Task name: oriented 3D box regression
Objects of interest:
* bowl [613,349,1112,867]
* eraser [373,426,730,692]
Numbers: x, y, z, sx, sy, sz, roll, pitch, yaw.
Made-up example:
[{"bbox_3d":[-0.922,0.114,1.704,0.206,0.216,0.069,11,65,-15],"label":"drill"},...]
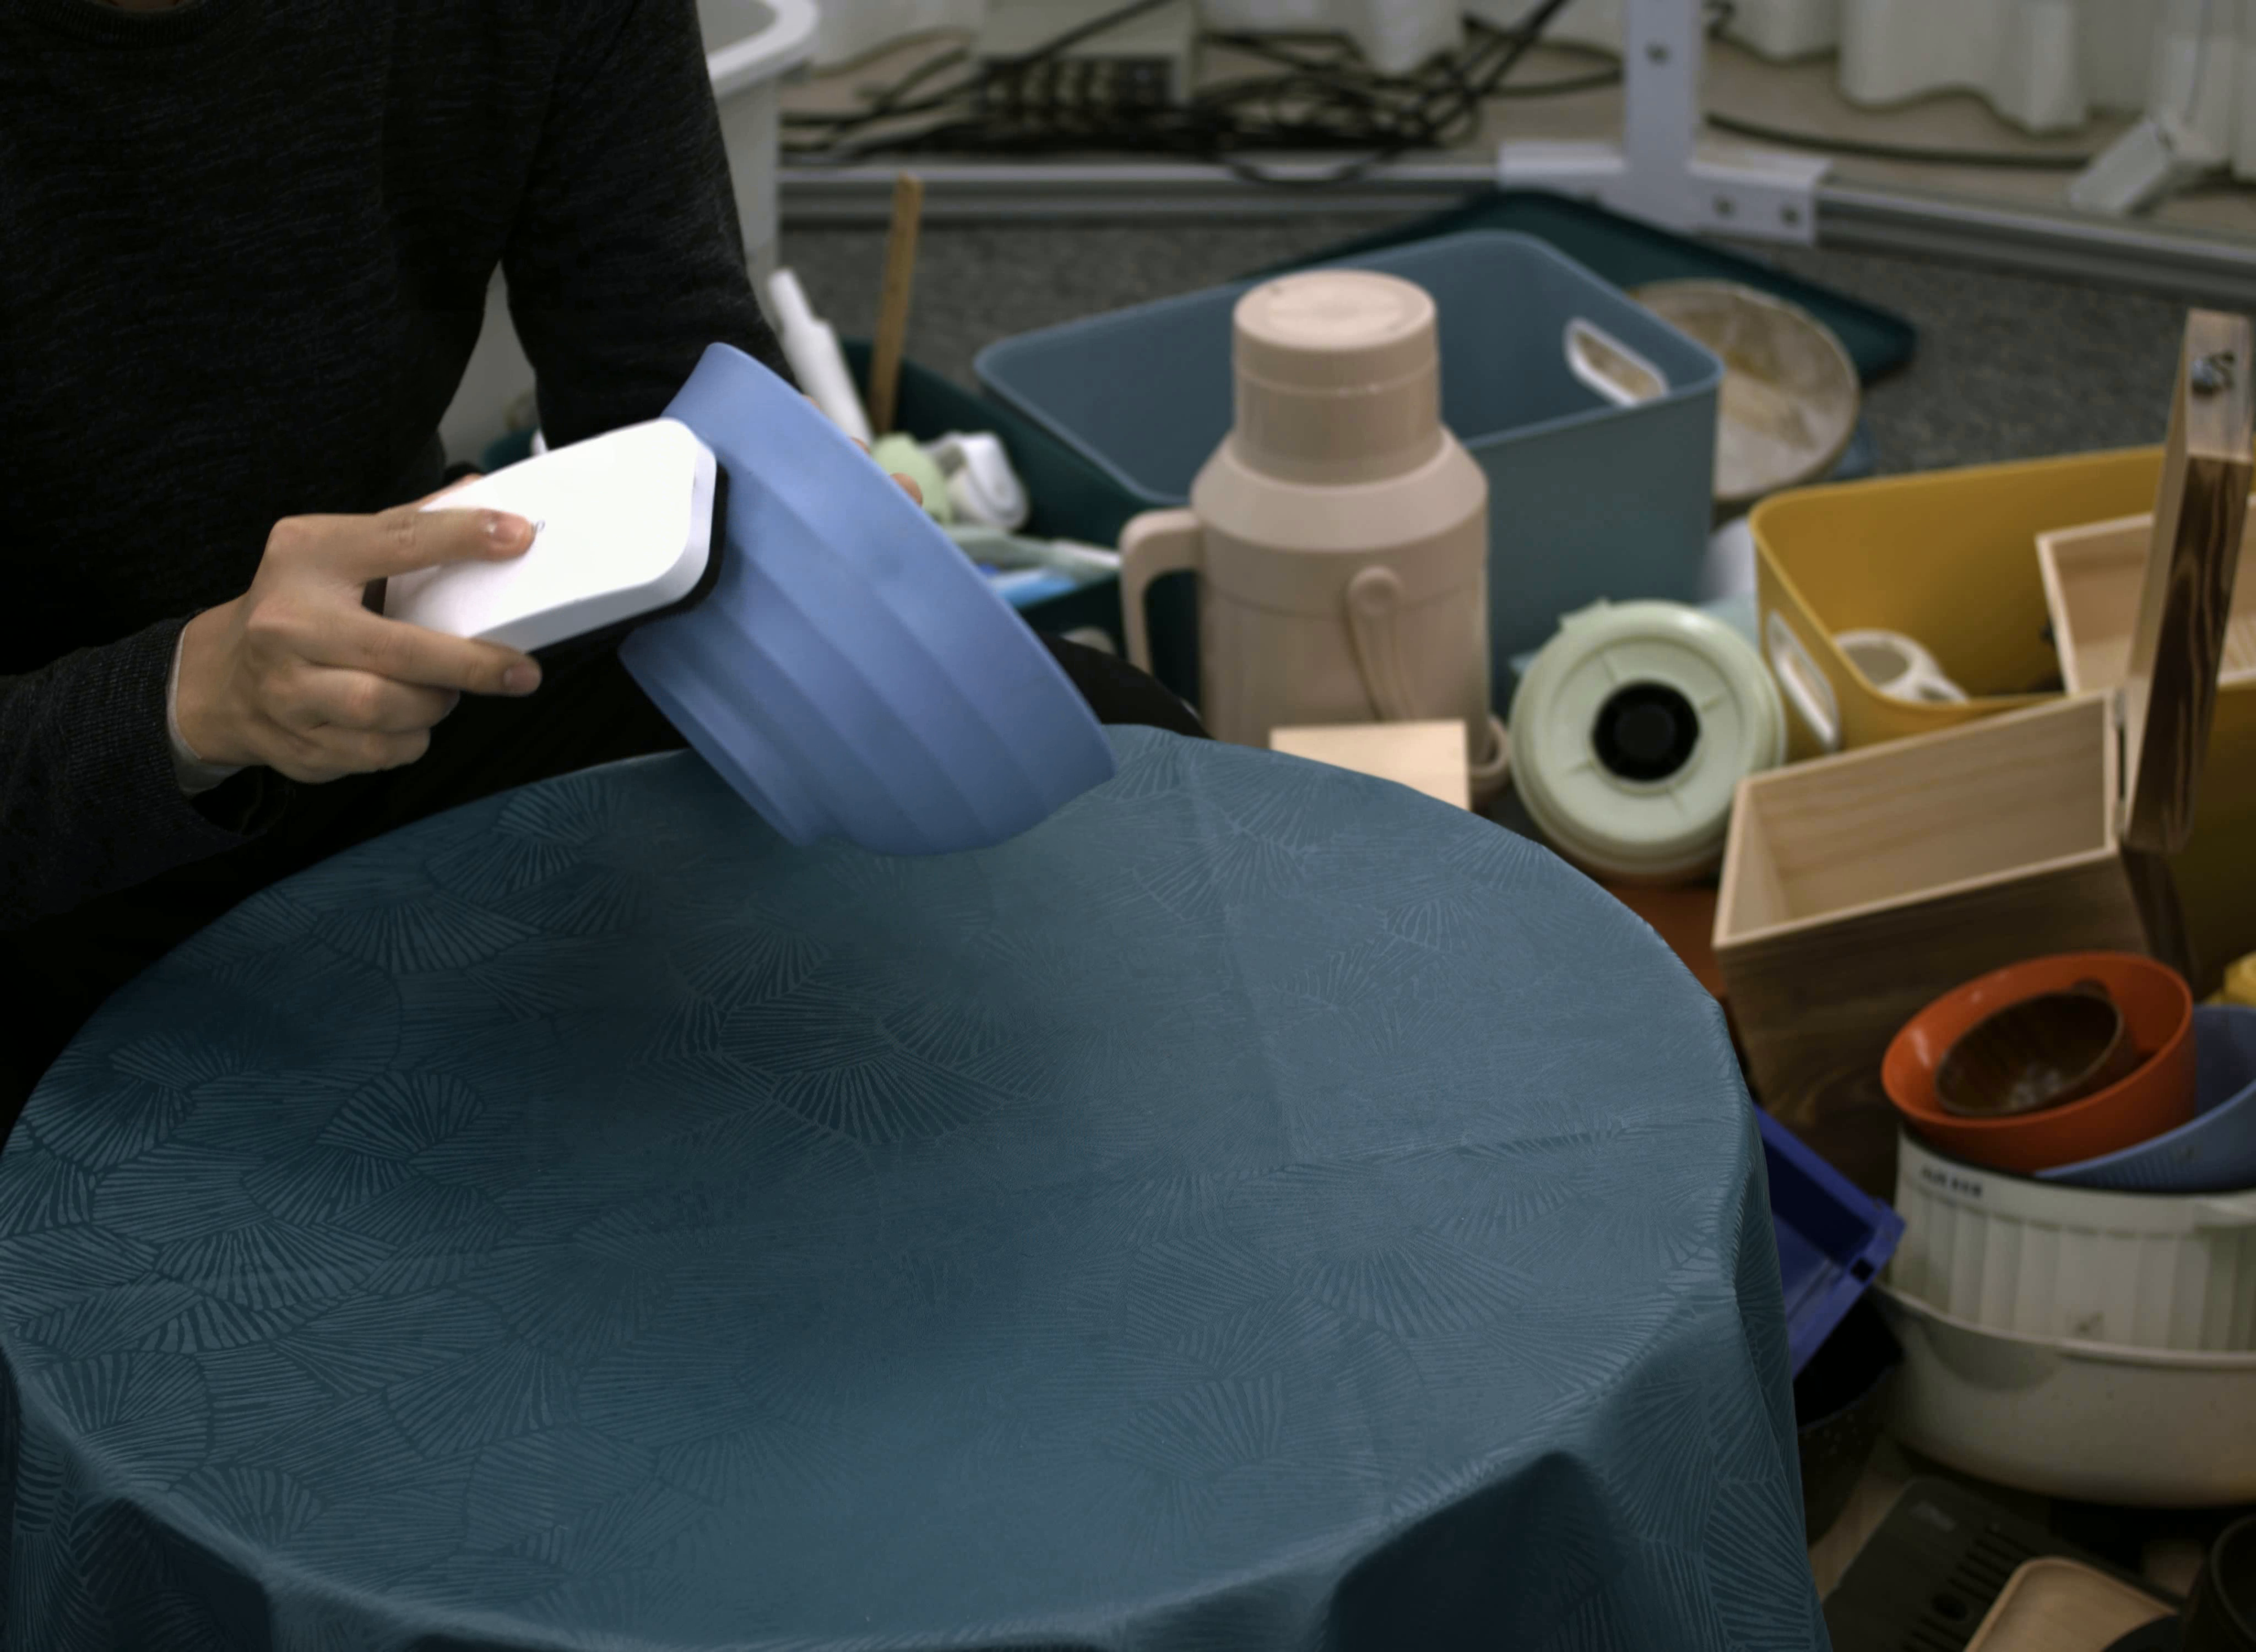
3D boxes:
[{"bbox_3d":[-0.106,-0.055,1.865,0.096,0.195,0.197,-43,38,-7],"label":"bowl"},{"bbox_3d":[-0.187,-0.086,1.810,0.129,0.034,0.064,-15,55,31],"label":"eraser"}]
